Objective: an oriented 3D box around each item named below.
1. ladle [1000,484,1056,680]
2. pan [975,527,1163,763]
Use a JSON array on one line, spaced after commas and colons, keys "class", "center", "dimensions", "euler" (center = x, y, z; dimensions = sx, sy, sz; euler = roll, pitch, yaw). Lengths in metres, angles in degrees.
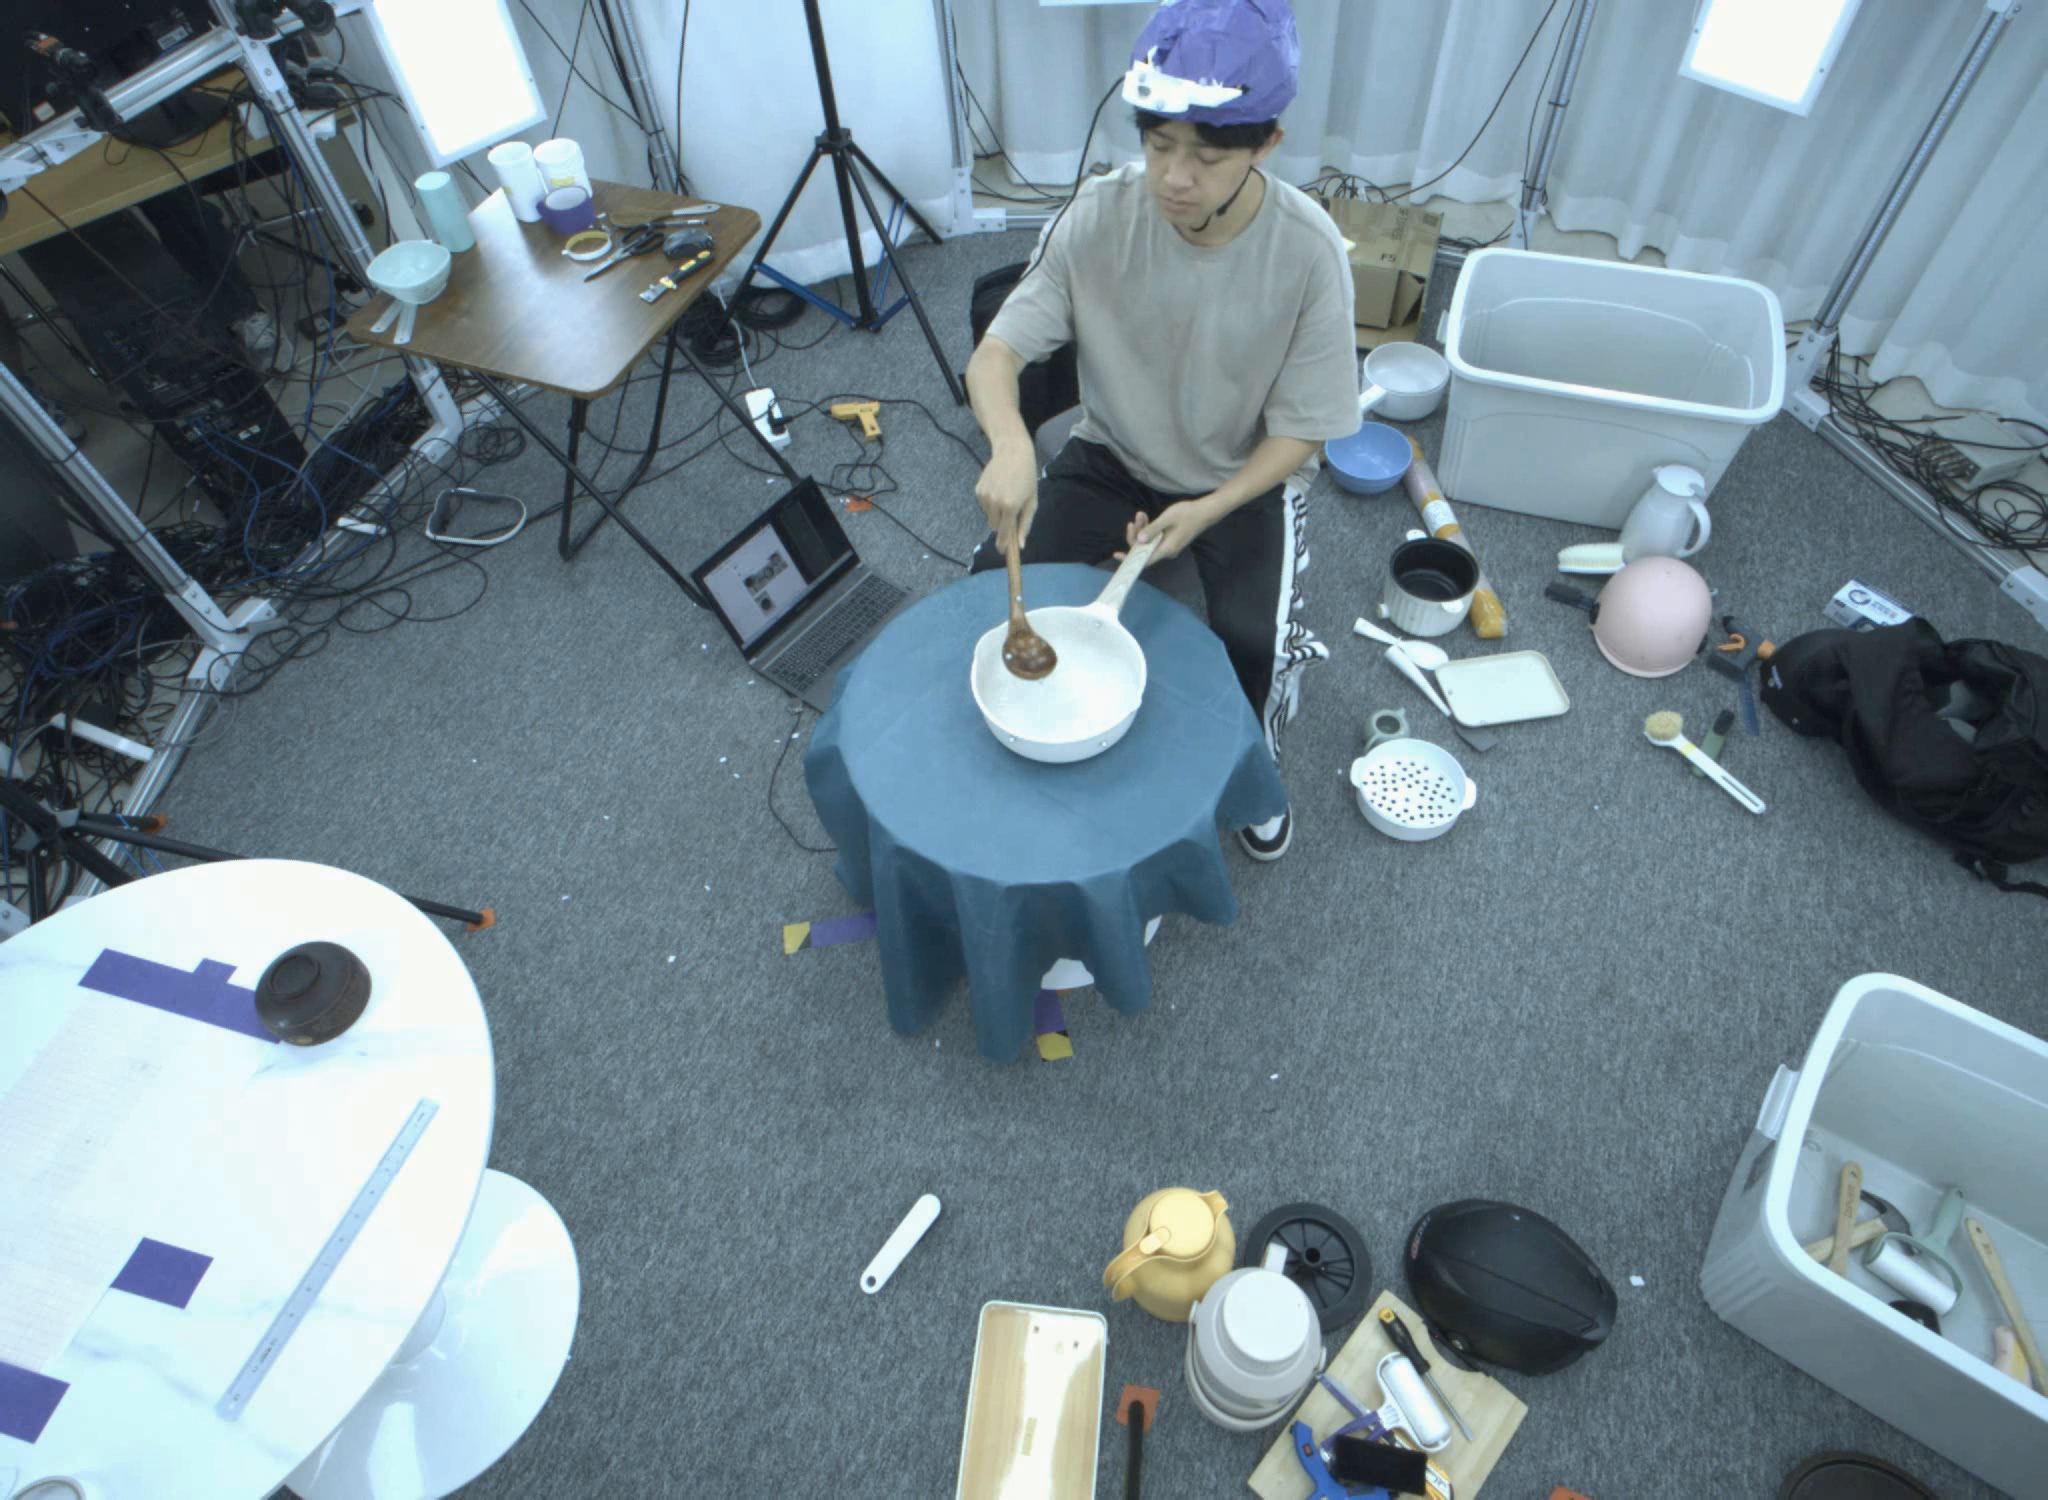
[{"class": "ladle", "center": [-0.002, -0.235, 1.723], "dimensions": [0.083, 0.275, 0.075], "euler": [-13, 19, -31]}, {"class": "pan", "center": [0.102, -0.158, 1.832], "dimensions": [0.259, 0.103, 0.436], "euler": [23, 59, 20]}]
